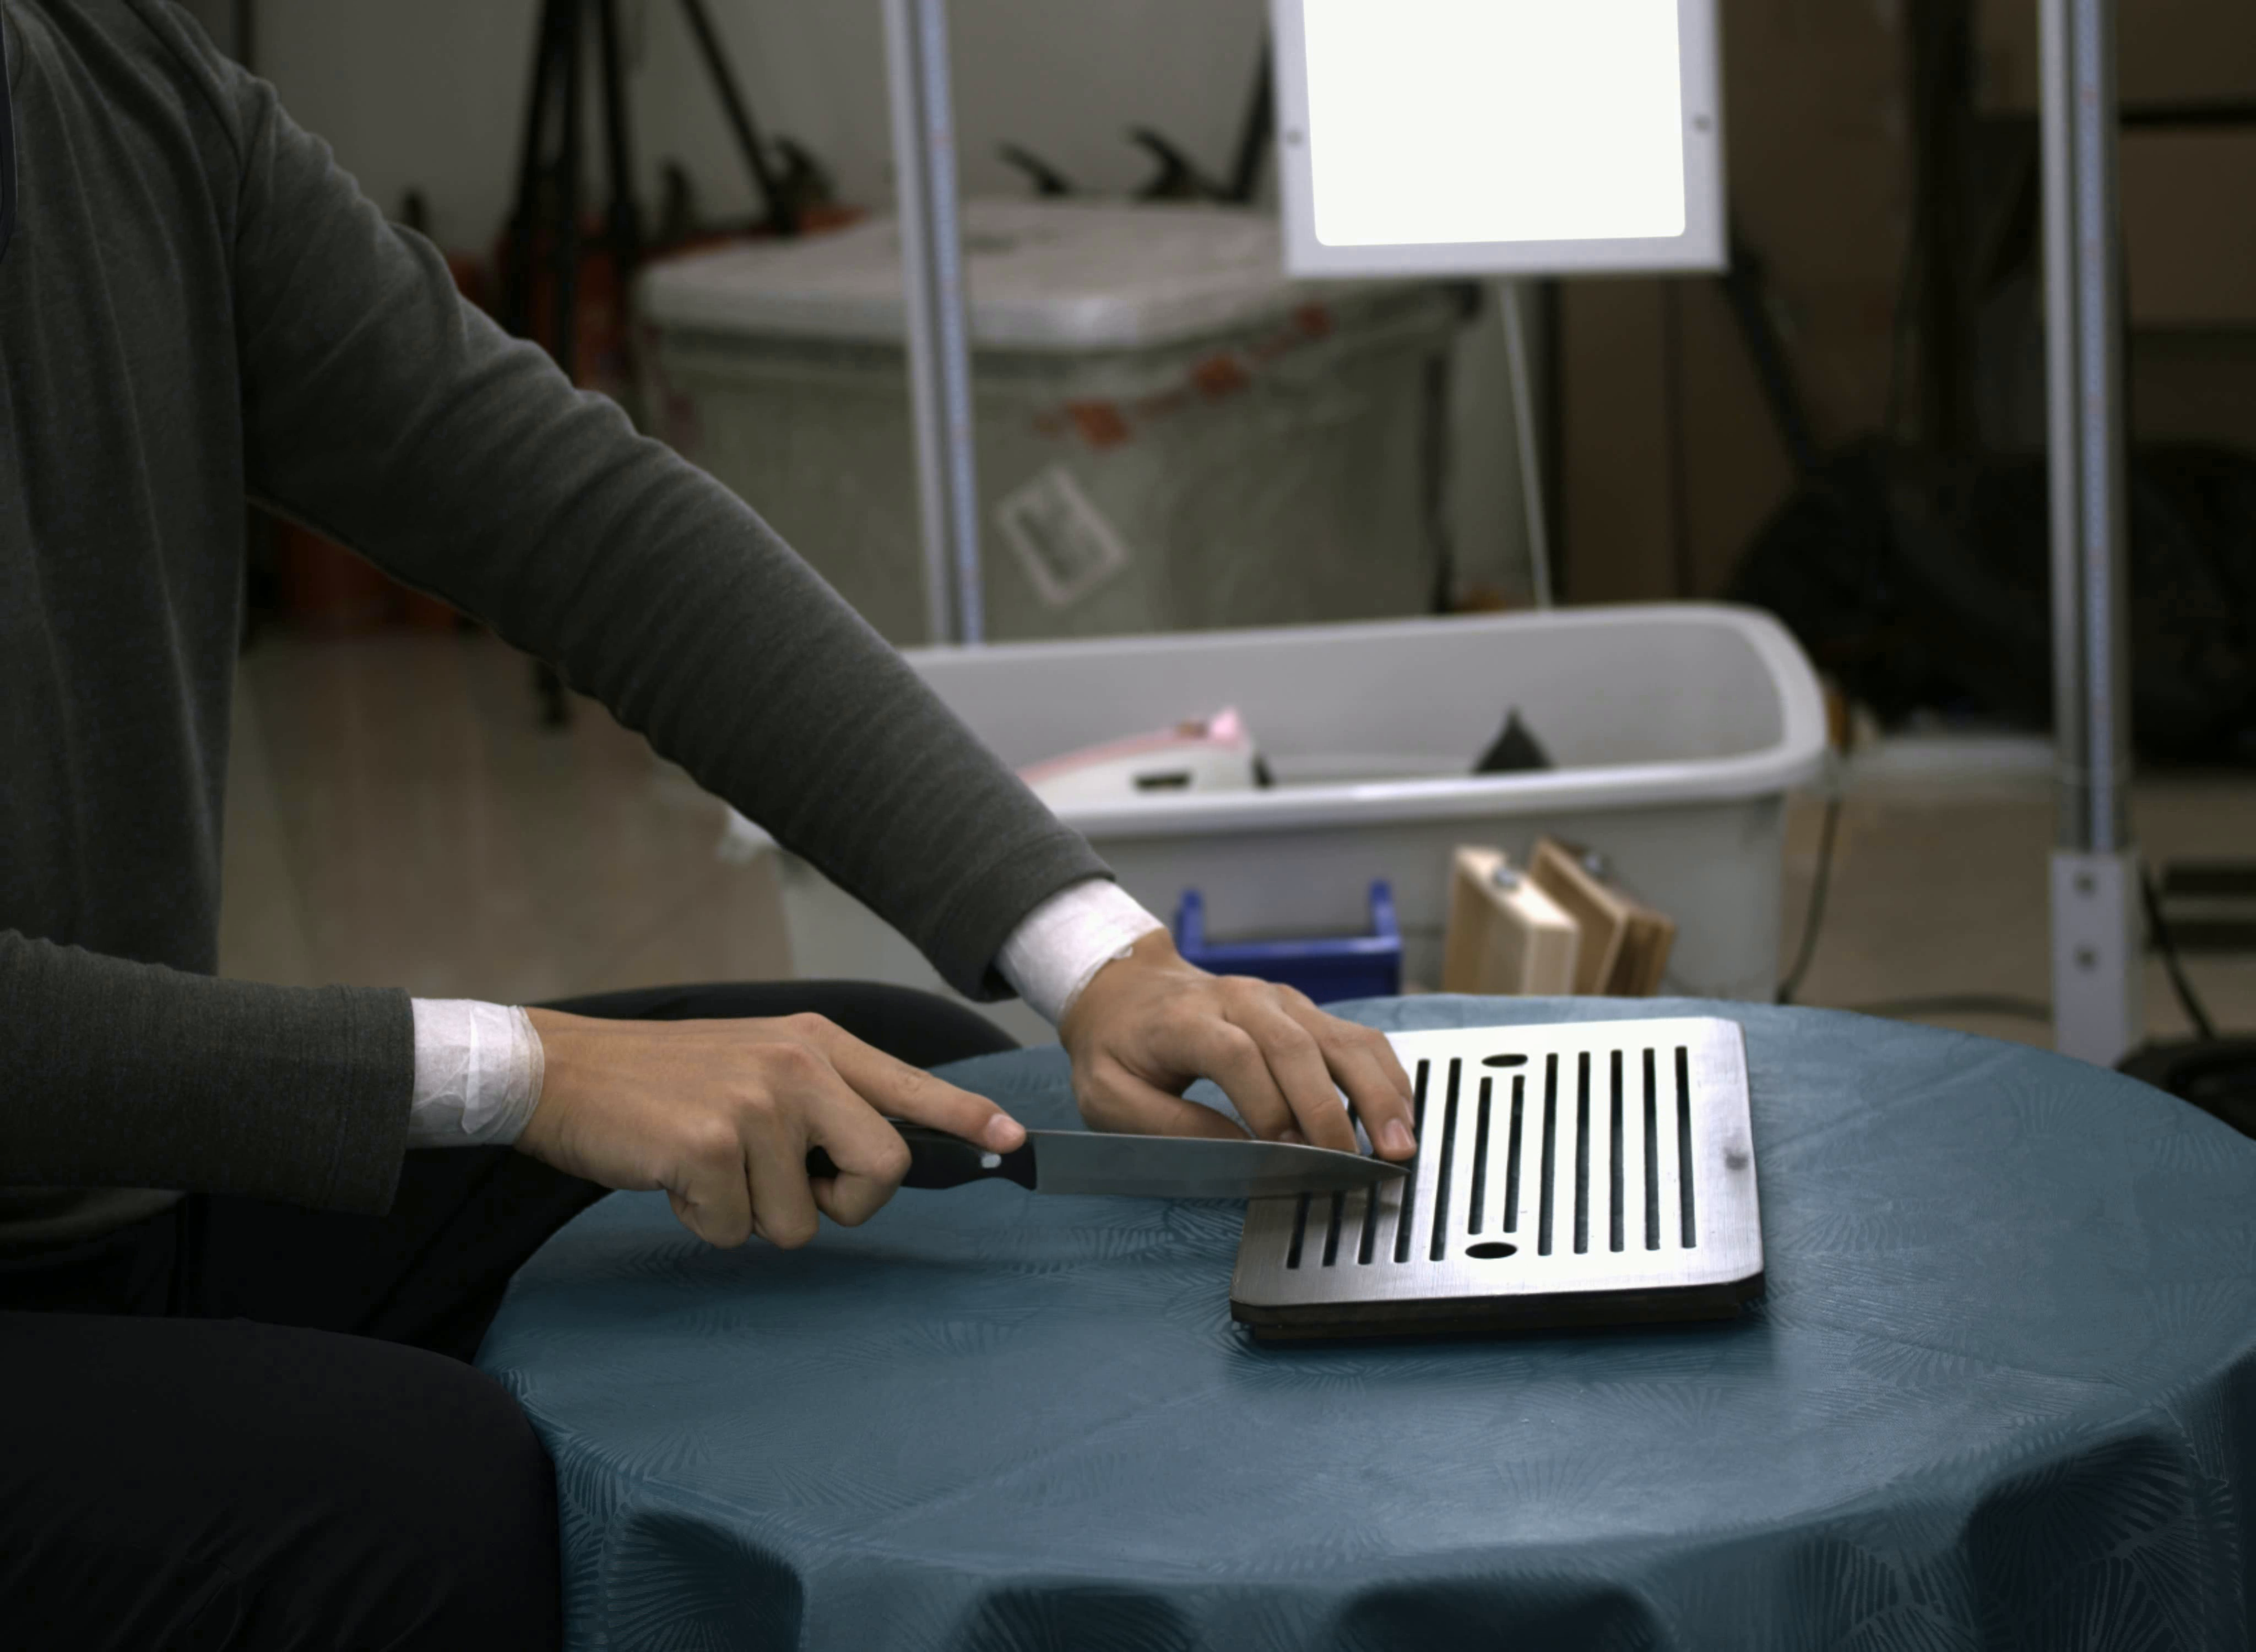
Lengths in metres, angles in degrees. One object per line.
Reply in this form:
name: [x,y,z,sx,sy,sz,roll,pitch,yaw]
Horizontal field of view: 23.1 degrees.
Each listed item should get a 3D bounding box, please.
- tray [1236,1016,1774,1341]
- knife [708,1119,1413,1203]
tray: [0.131,0.117,1.857,0.171,0.019,0.304,-4,13,7]
knife: [-0.023,0.111,1.839,0.239,0.024,0.016,2,15,8]
